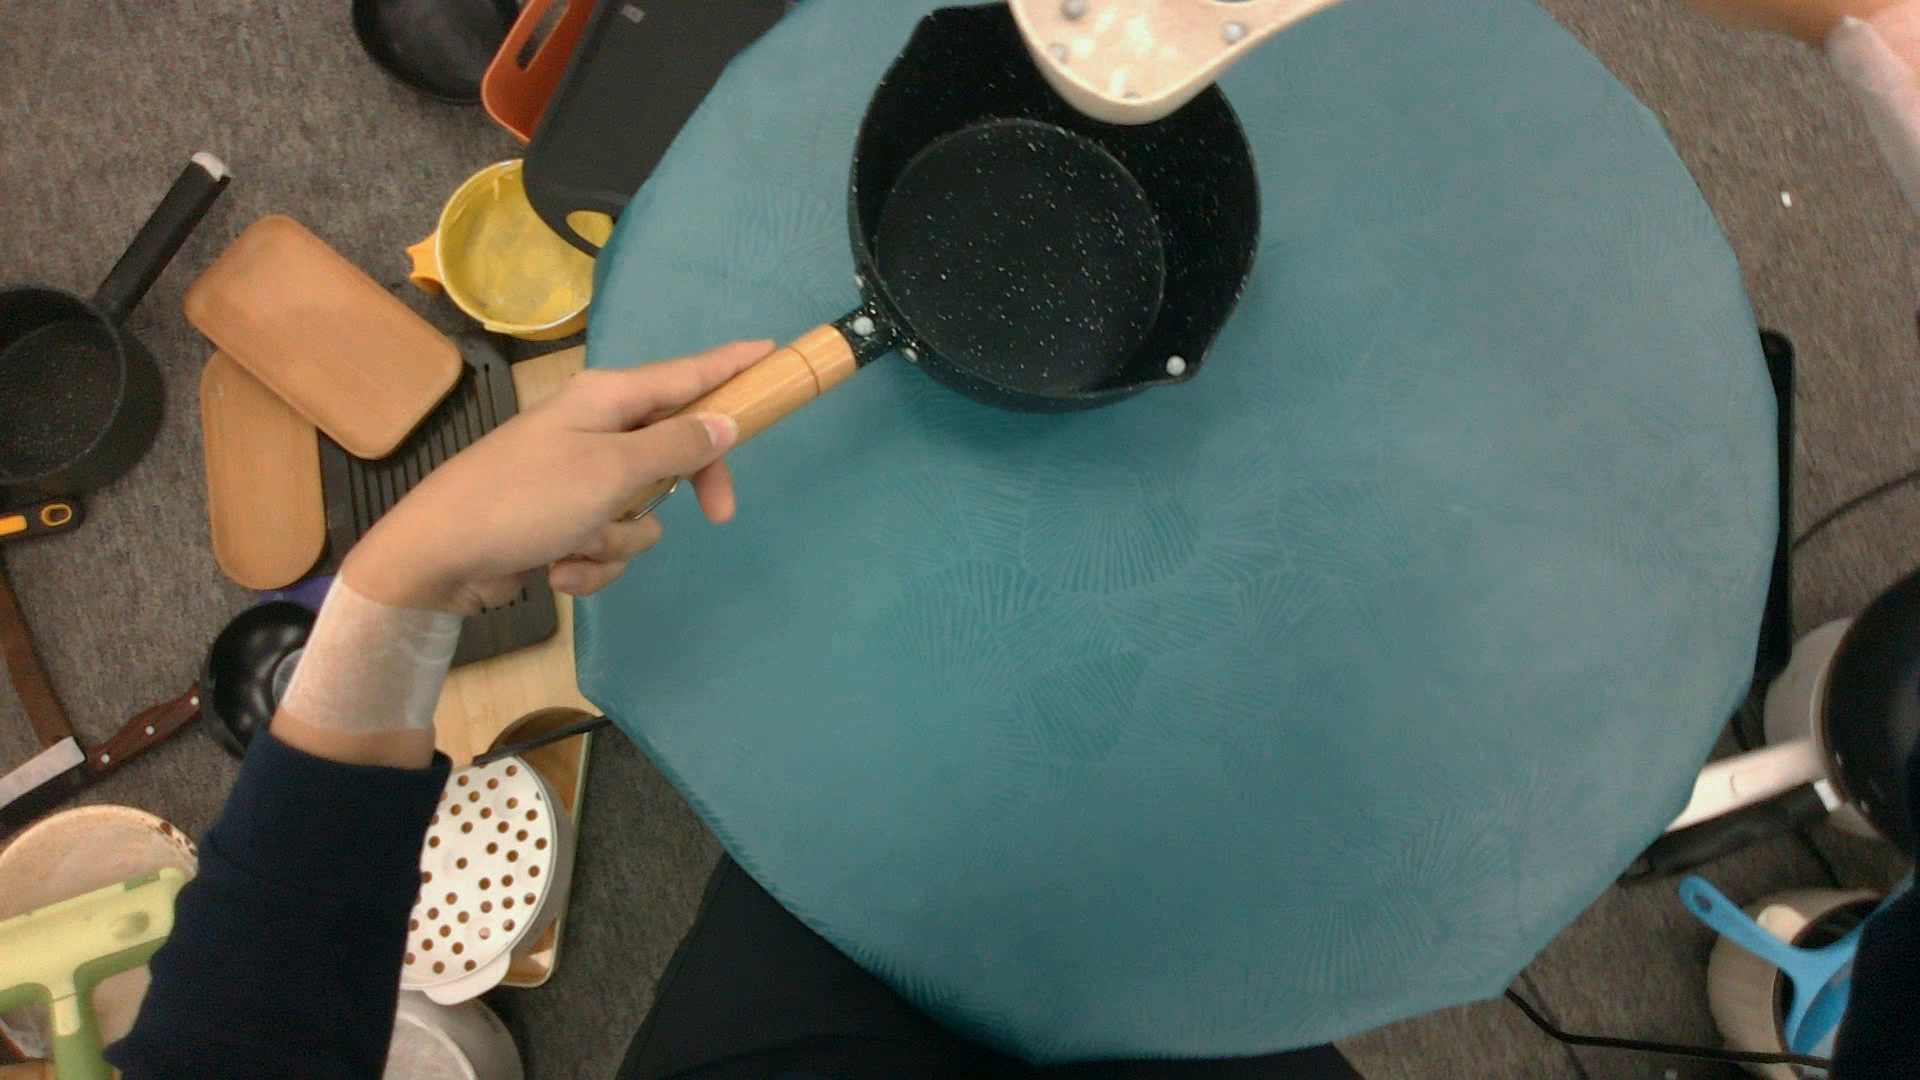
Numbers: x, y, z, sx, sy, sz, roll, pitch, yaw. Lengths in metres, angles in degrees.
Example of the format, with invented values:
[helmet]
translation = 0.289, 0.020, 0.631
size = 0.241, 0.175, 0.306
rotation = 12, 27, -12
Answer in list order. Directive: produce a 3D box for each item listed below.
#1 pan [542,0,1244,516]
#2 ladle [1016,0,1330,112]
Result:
[pan]
translation = -0.030, -0.106, 0.611
size = 0.343, 0.108, 0.207
rotation = -38, 90, -15
[ladle]
translation = 0.148, -0.215, 0.461
size = 0.274, 0.069, 0.090
rotation = -12, 42, 31
